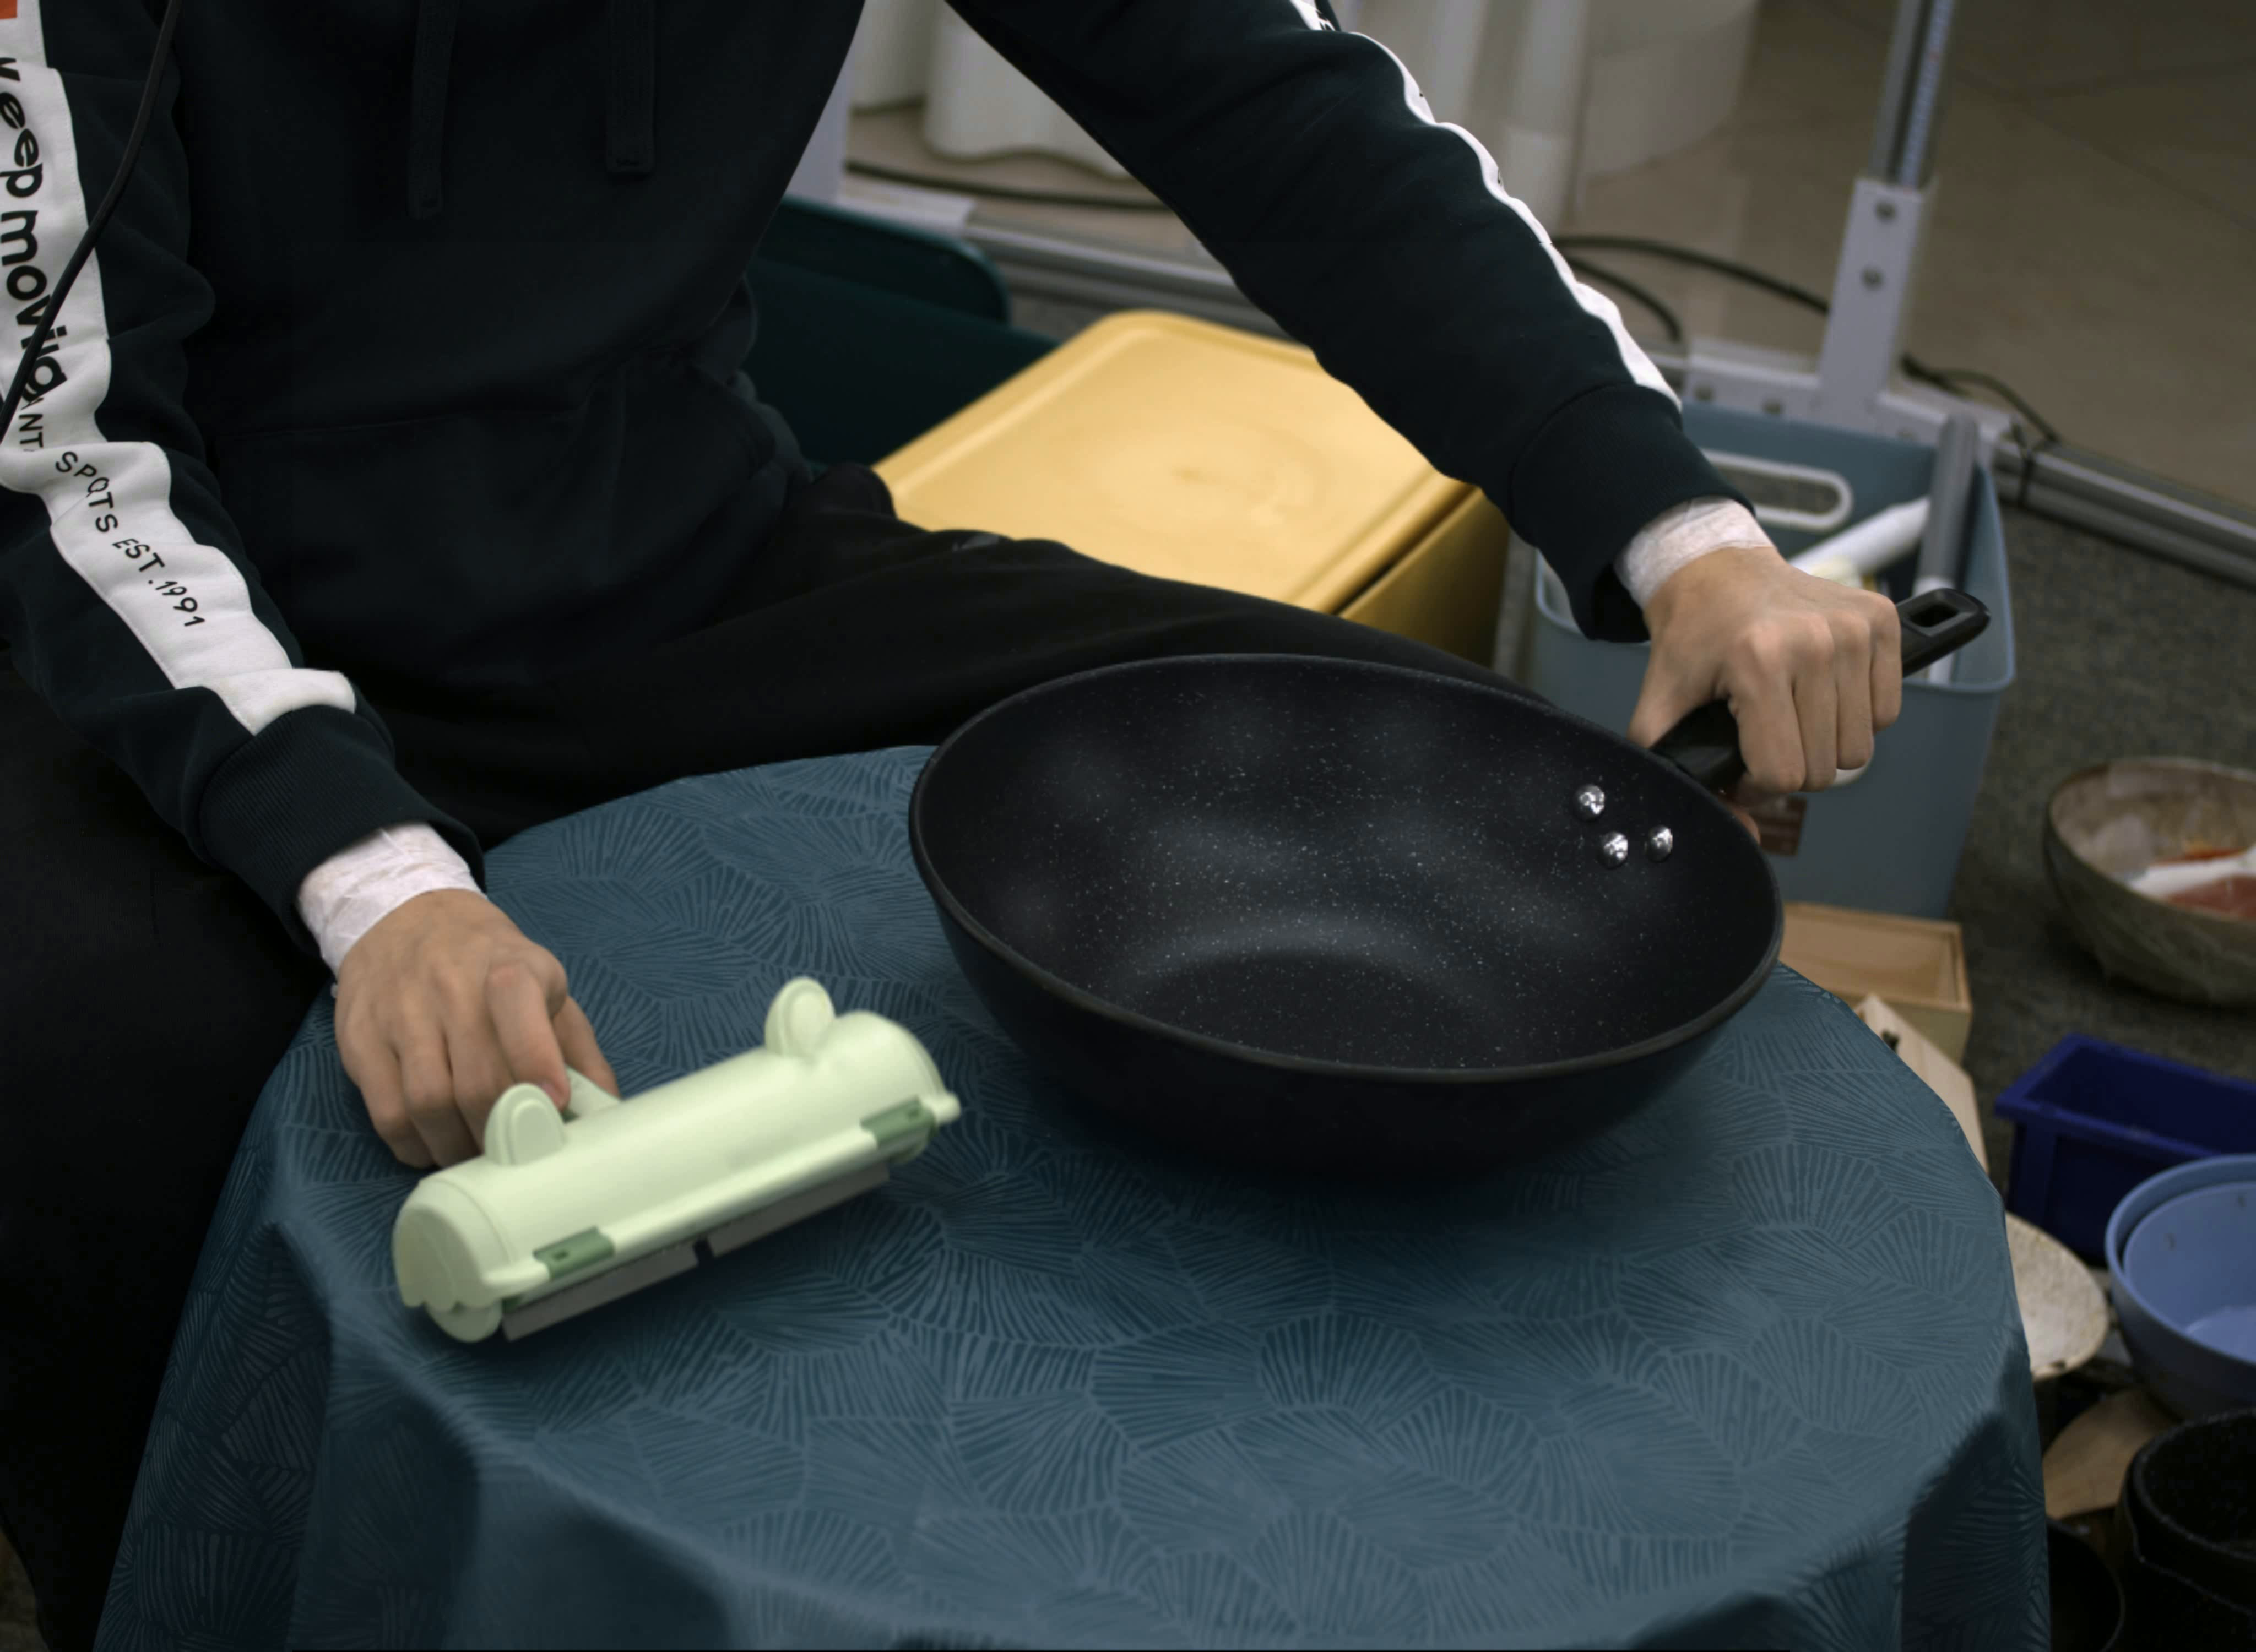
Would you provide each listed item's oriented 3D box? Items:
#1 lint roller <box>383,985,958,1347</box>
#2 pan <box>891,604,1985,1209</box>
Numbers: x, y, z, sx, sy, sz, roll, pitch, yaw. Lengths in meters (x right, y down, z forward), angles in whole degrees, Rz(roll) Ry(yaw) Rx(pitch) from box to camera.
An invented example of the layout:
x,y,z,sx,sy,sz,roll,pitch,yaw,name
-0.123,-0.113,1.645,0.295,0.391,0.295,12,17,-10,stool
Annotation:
x,y,z,sx,sy,sz,roll,pitch,yaw,name
-0.184,0.084,1.743,0.197,0.082,0.185,-19,39,-39,lint roller
0.132,0.020,1.915,0.474,0.111,0.313,-17,36,-37,pan
